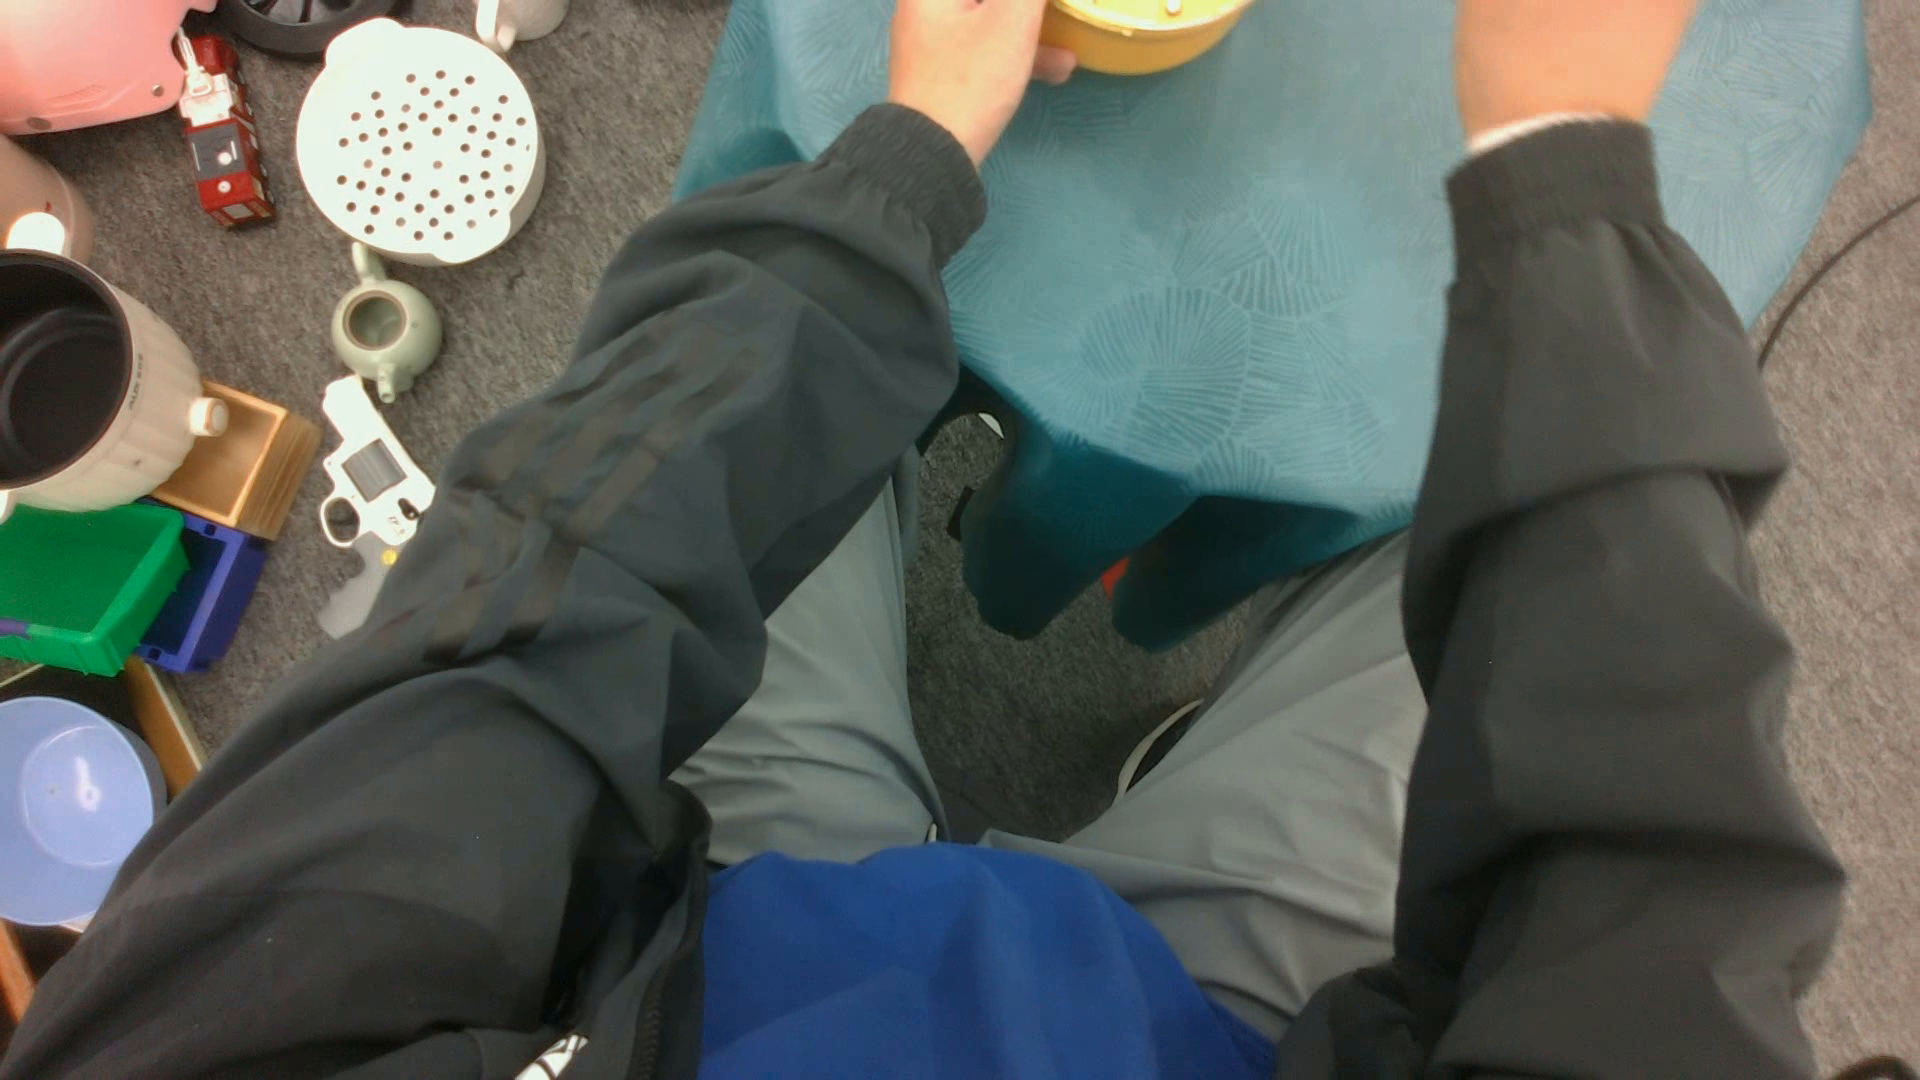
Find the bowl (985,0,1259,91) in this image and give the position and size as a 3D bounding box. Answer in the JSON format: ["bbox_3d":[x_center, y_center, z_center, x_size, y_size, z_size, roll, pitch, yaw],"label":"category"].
[{"bbox_3d":[0.066,-0.299,0.680,0.179,0.074,0.153,-1,81,-8],"label":"bowl"}]
